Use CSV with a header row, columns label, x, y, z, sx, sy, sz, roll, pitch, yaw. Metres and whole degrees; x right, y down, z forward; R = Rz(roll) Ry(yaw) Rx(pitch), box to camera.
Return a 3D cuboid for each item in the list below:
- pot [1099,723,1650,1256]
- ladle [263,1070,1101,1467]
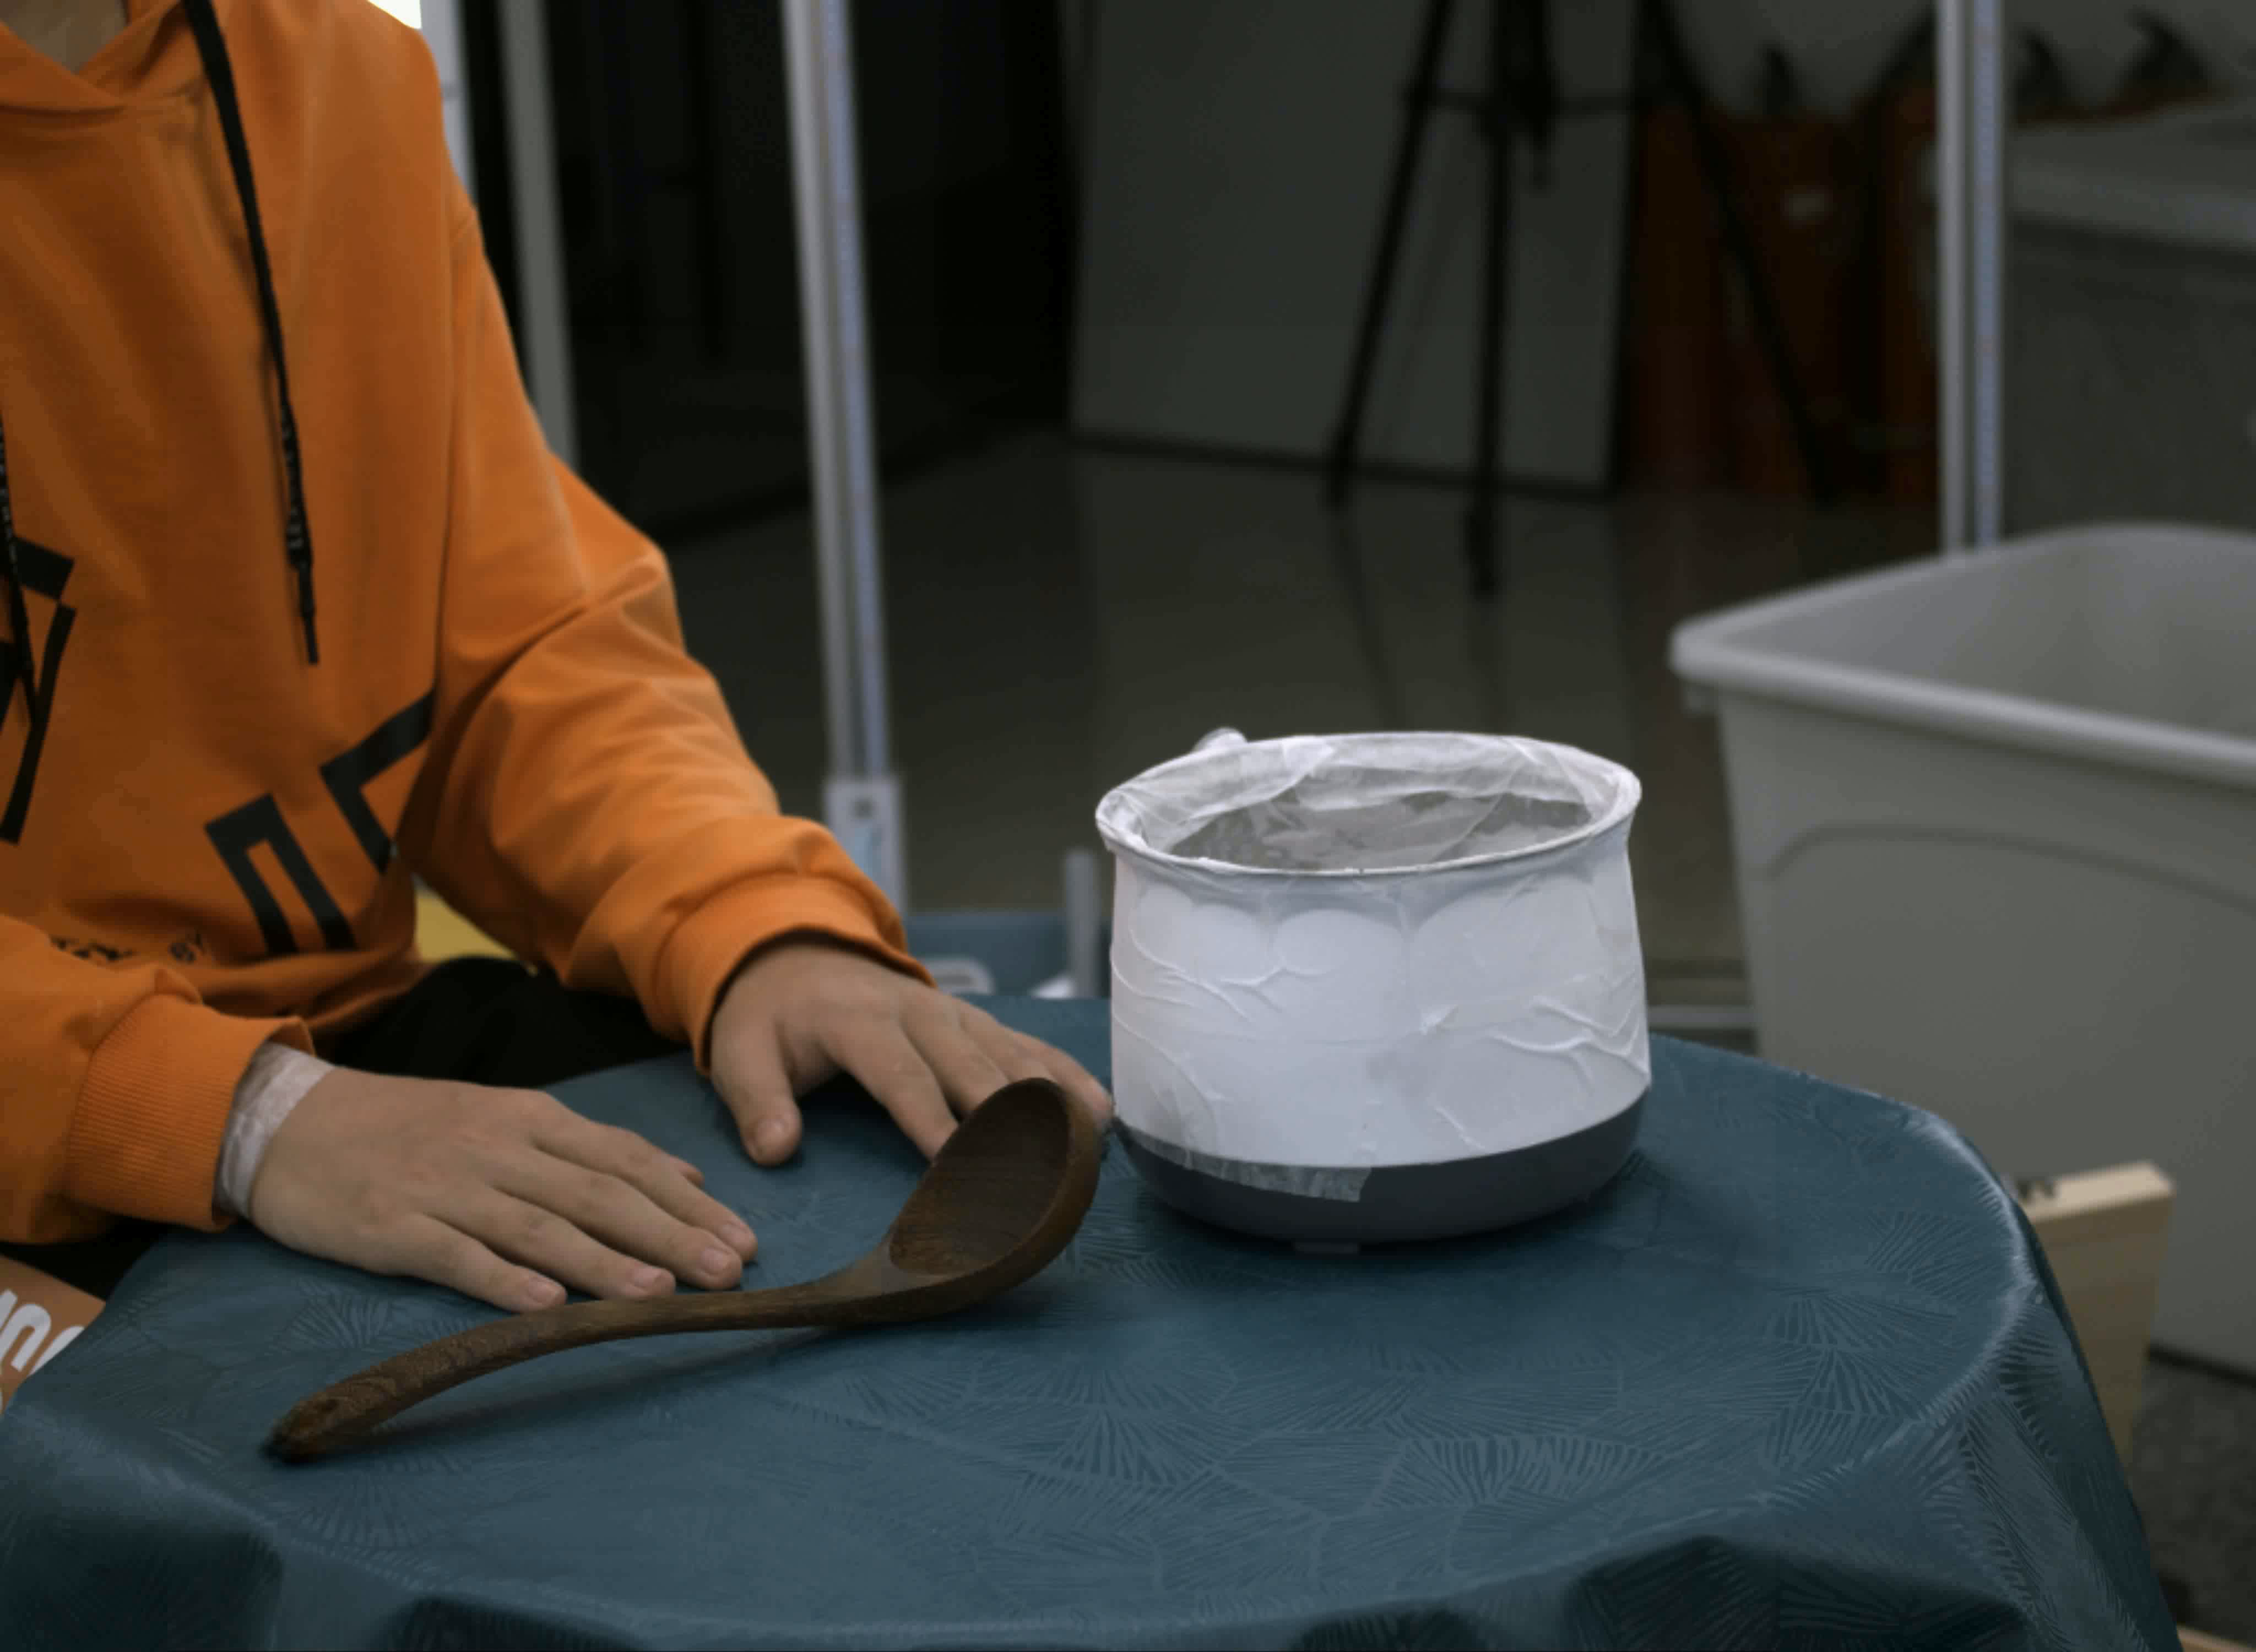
label,x,y,z,sx,sy,sz,roll,pitch,yaw
pot,0.067,0.046,1.765,0.175,0.138,0.236,-10,15,-26
ladle,-0.132,0.130,1.626,0.268,0.072,0.077,-10,12,-25
